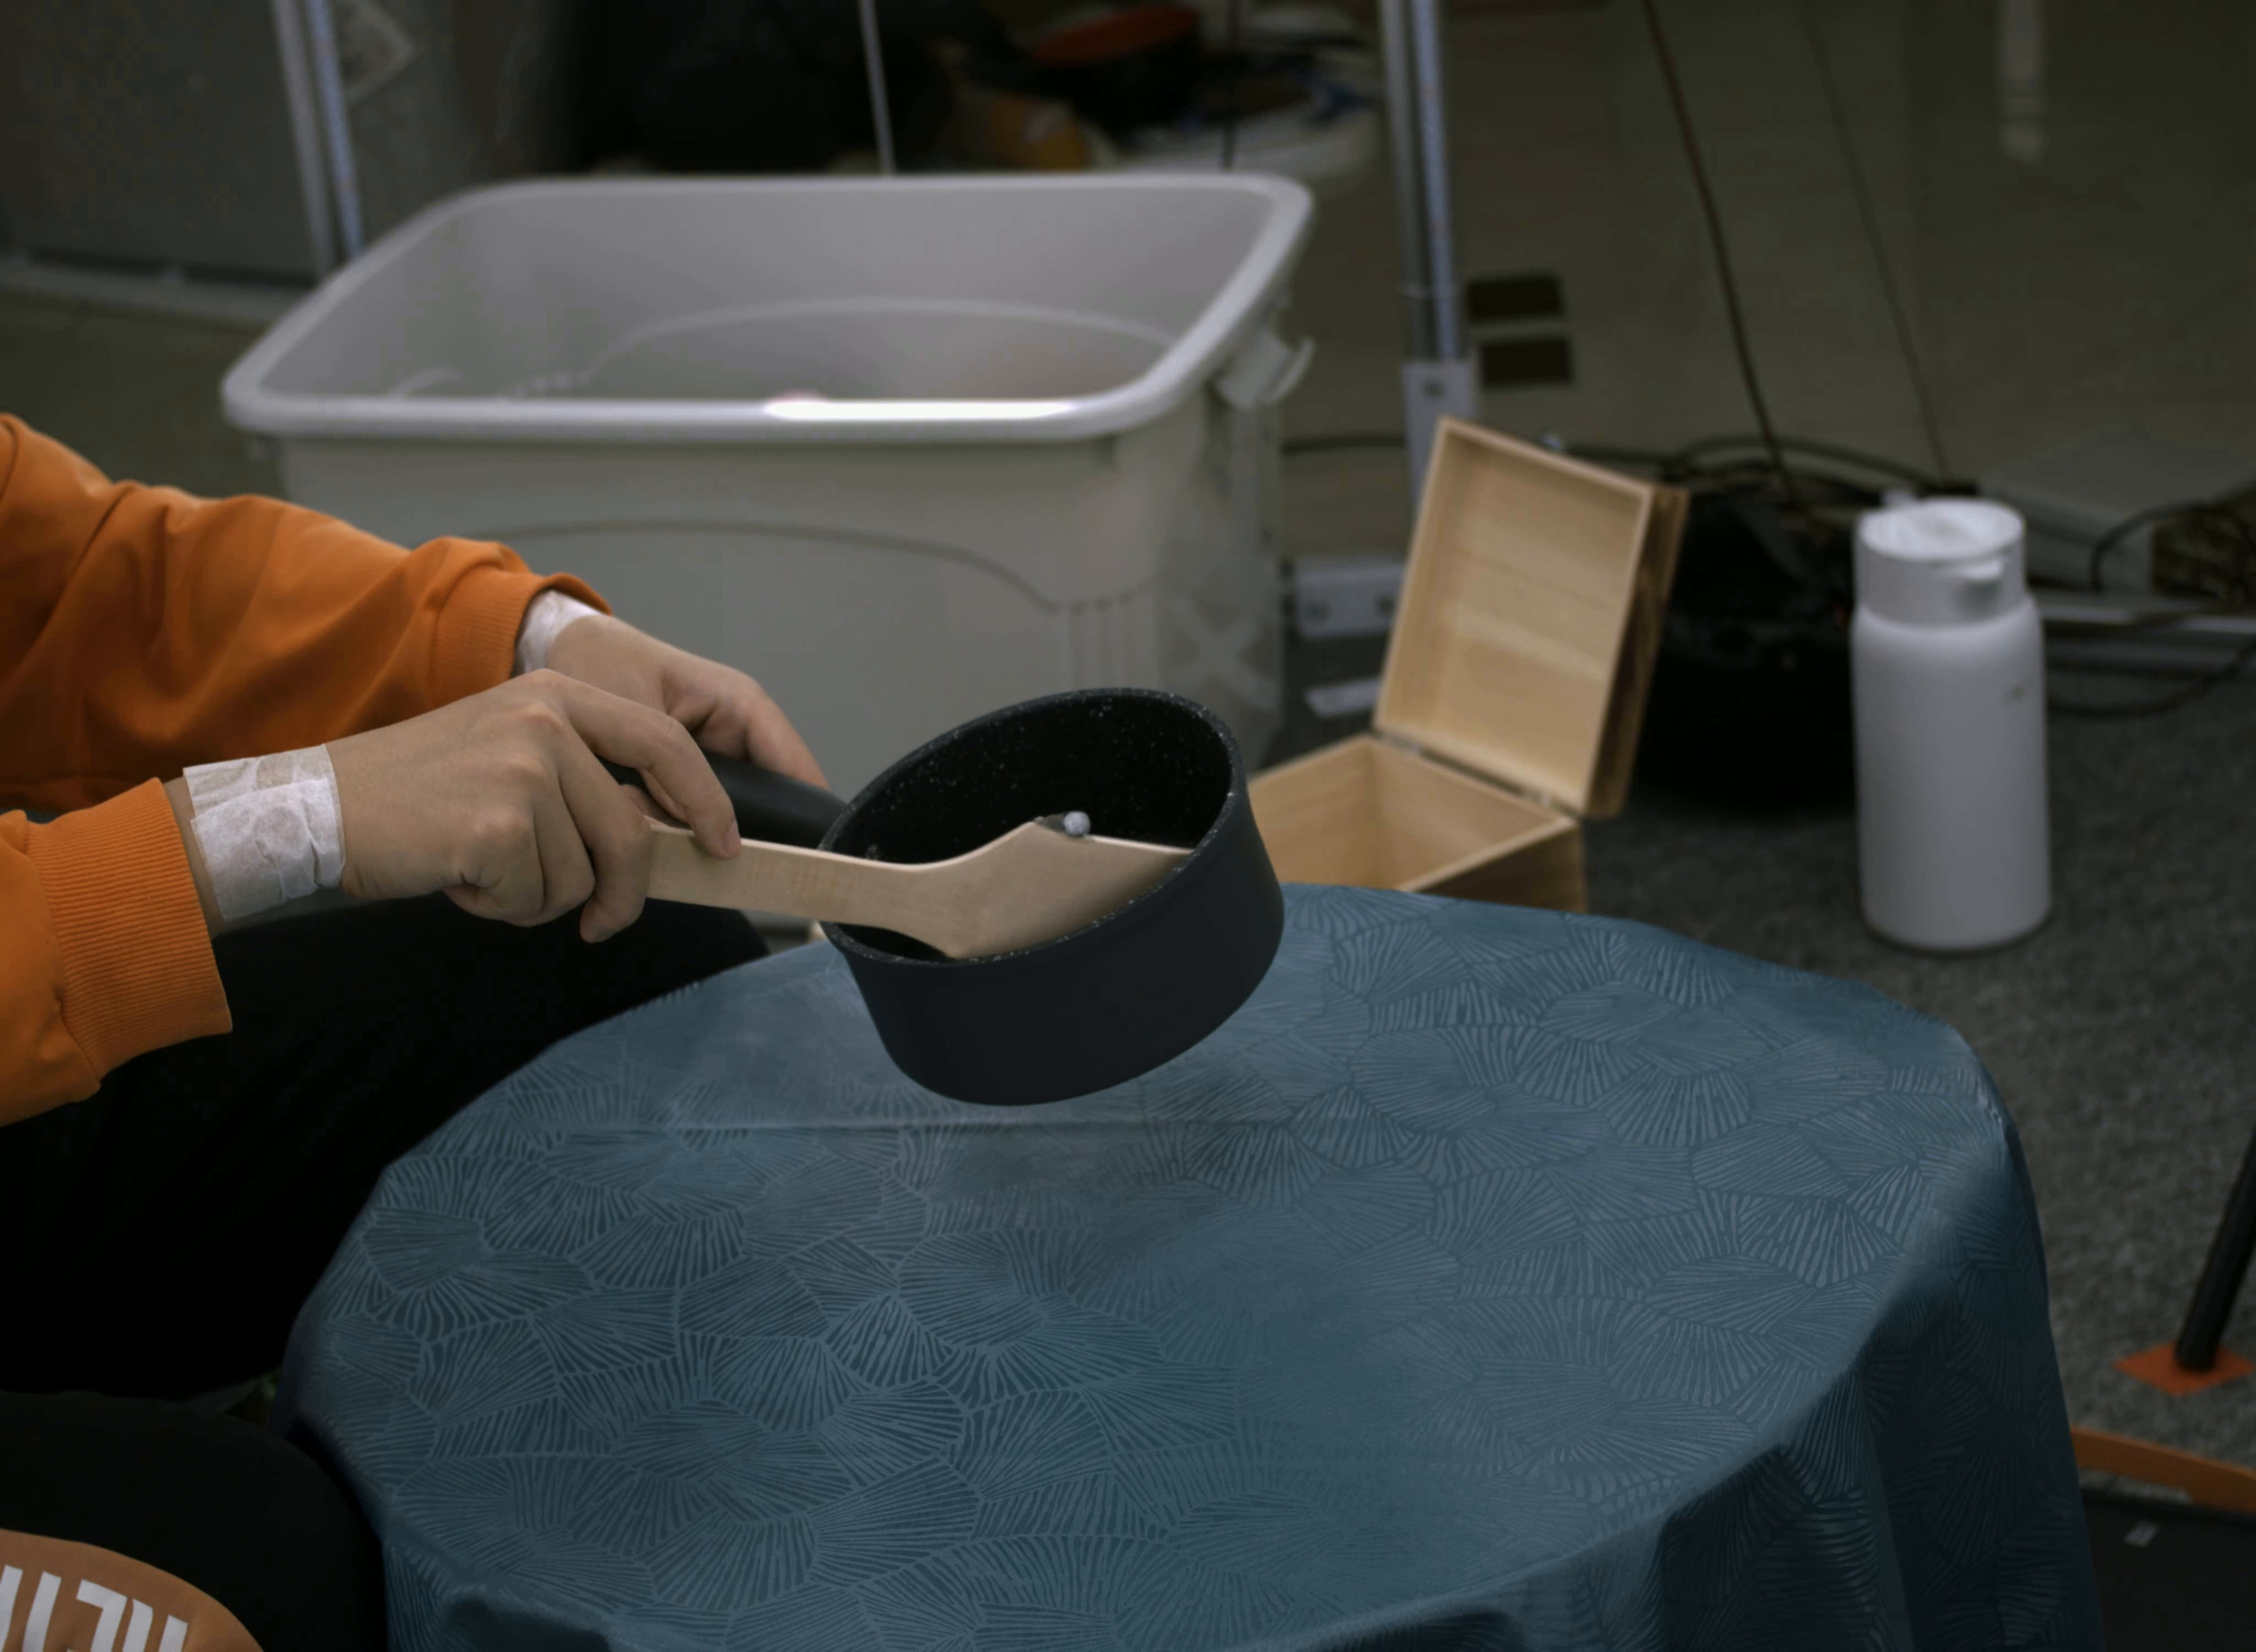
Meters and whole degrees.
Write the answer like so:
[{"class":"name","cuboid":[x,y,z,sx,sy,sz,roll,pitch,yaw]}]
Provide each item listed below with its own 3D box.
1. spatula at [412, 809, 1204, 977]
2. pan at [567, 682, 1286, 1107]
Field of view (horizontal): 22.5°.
[{"class":"spatula","cuboid":[-0.113,0.018,2.037,0.293,0.073,0.010,4,30,-20]},{"class":"pan","cuboid":[-0.087,0.013,2.192,0.327,0.088,0.170,13,45,40]}]
